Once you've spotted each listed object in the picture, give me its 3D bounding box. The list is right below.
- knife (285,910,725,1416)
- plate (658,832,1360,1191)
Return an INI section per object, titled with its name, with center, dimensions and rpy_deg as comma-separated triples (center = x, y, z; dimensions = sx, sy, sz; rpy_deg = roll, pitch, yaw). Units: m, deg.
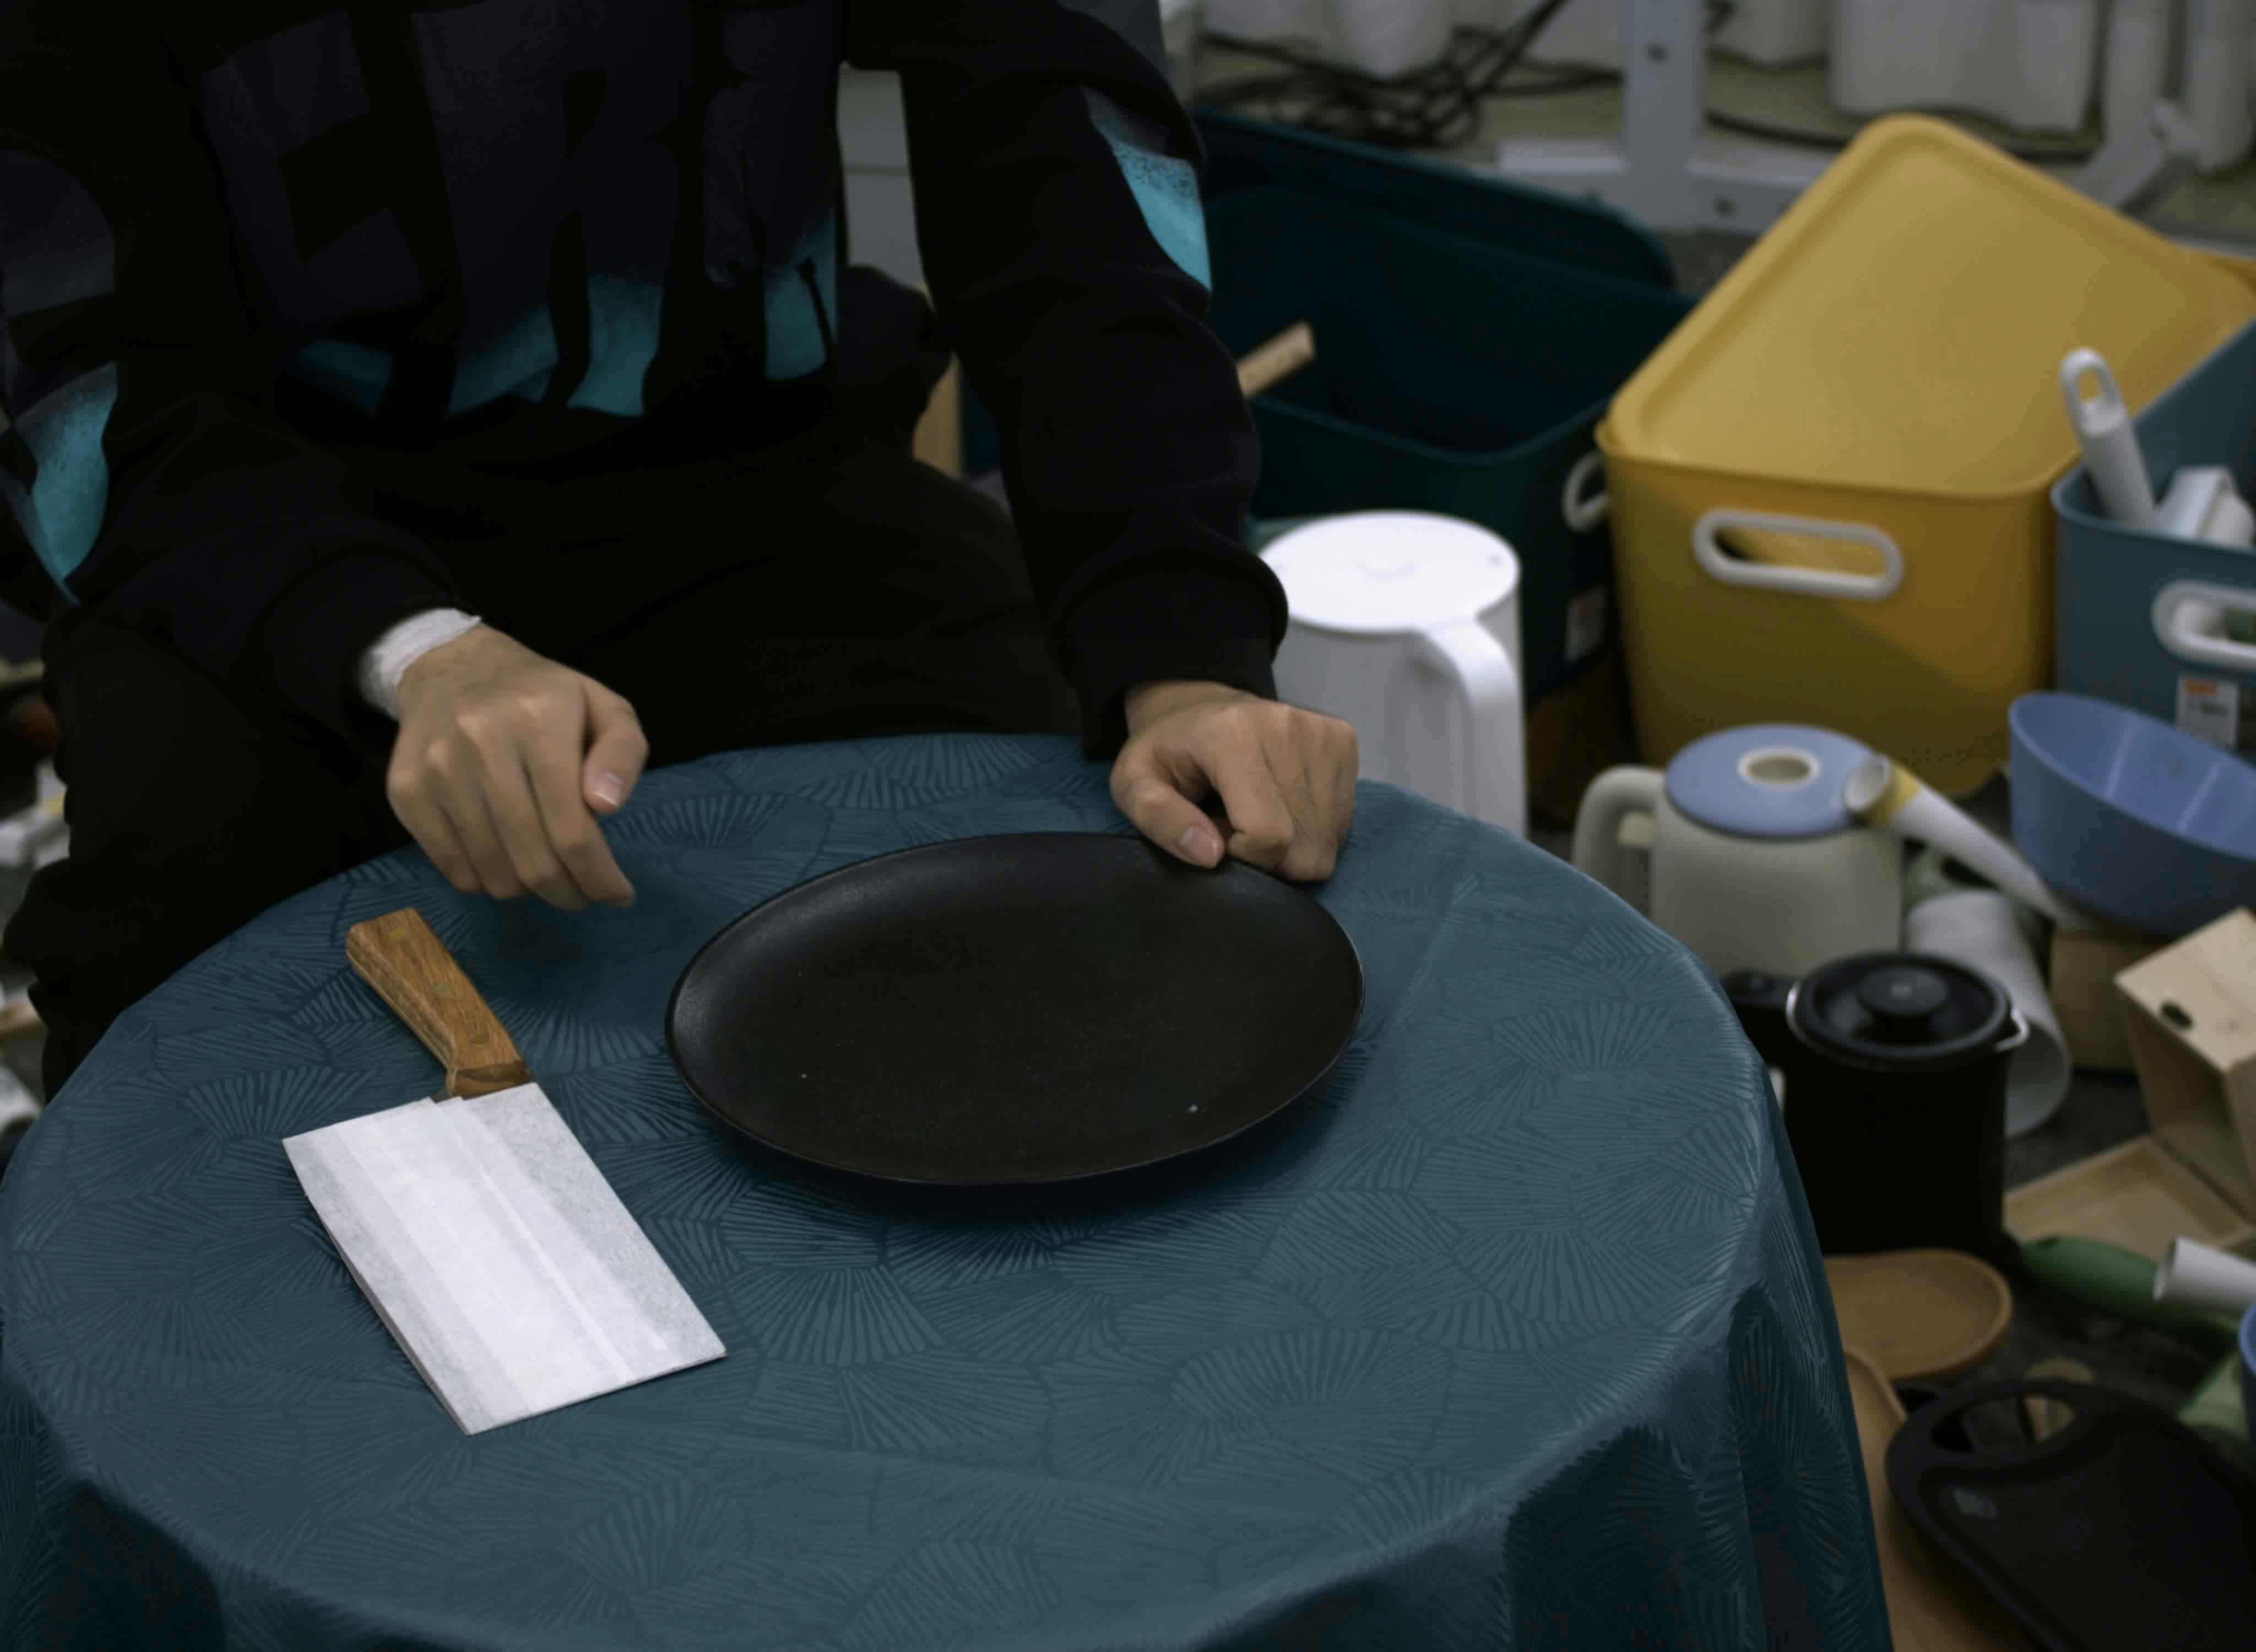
[knife]
center = -0.230, 0.112, 1.887
dimensions = 0.093, 0.021, 0.308
rpy_deg = -16, 32, -20
[plate]
center = -0.040, 0.069, 1.942
dimensions = 0.243, 0.023, 0.248
rpy_deg = -2, 27, 2
